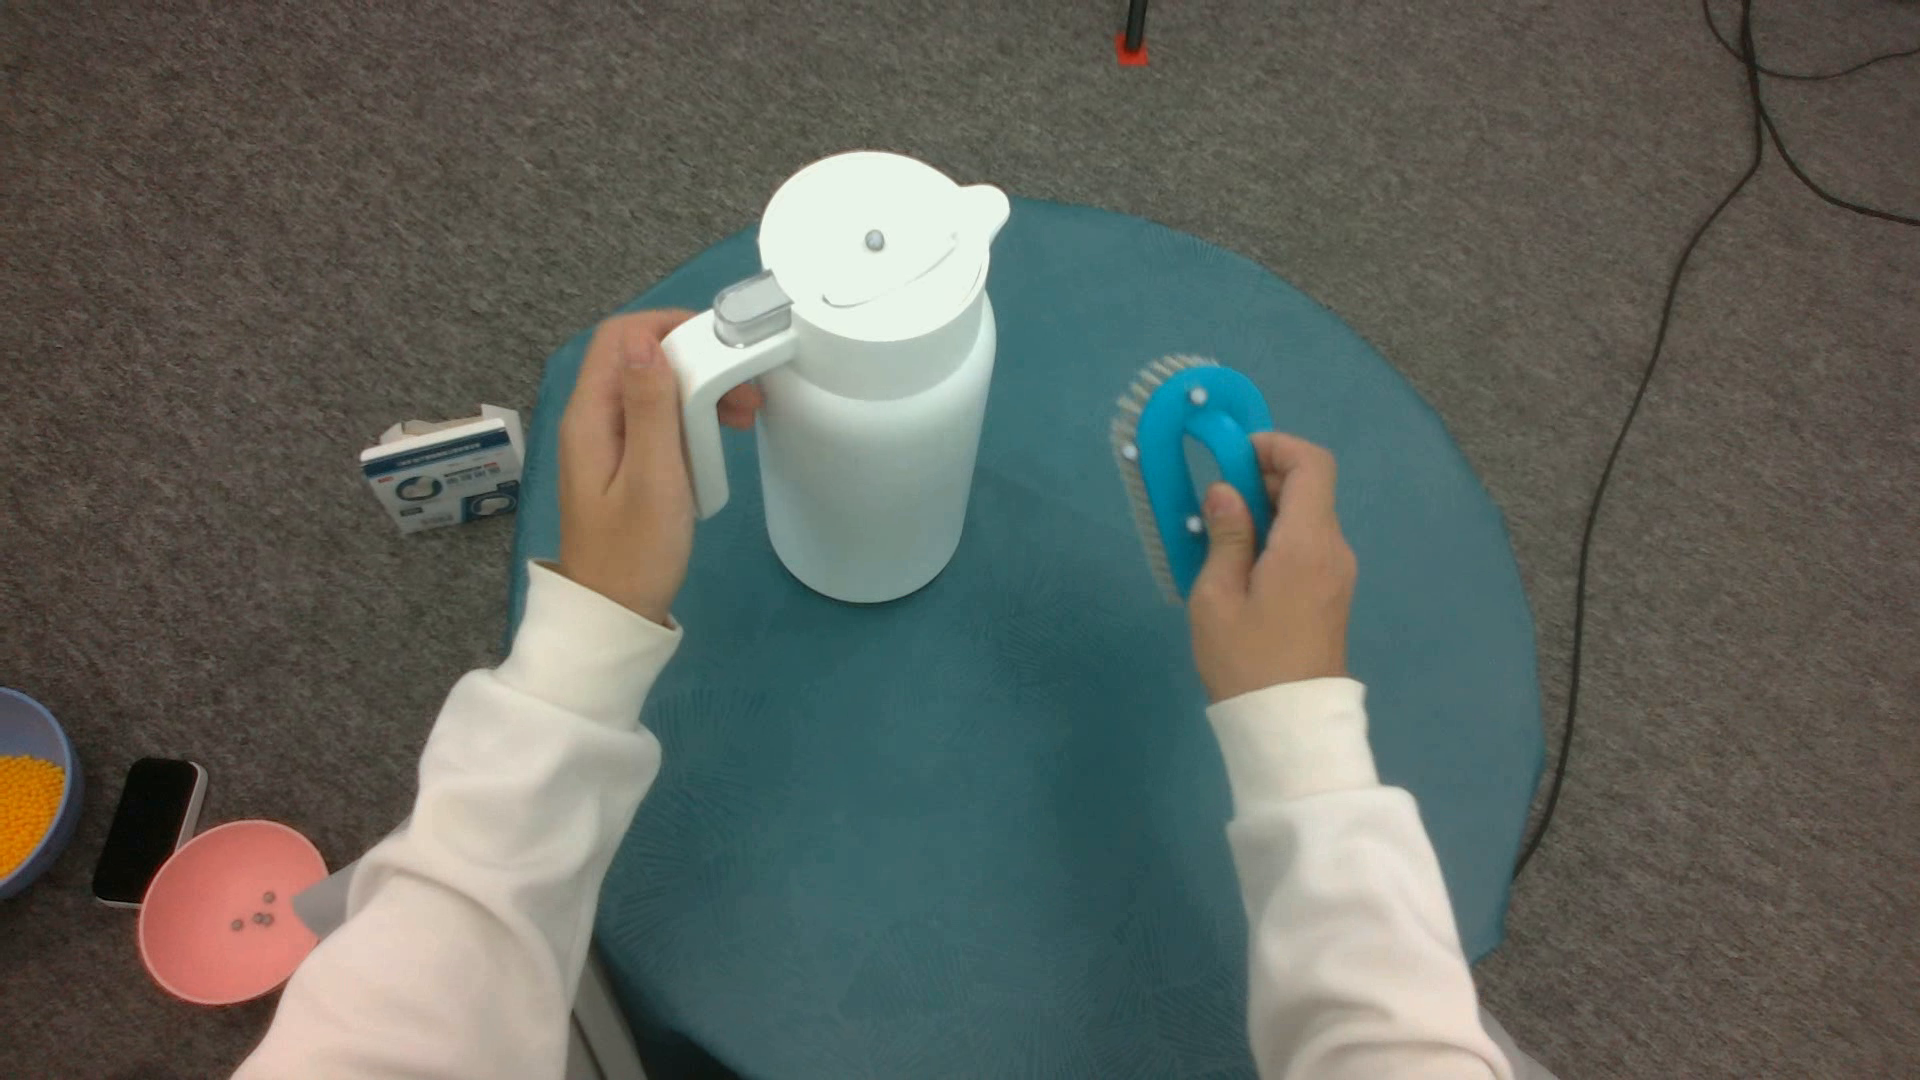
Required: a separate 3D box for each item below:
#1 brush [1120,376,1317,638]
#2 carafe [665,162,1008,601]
[{"bbox_3d":[0.141,-0.017,0.701,0.084,0.064,0.141,-25,107,-17],"label":"brush"},{"bbox_3d":[-0.058,-0.060,0.709,0.173,0.268,0.124,-31,73,-17],"label":"carafe"}]
